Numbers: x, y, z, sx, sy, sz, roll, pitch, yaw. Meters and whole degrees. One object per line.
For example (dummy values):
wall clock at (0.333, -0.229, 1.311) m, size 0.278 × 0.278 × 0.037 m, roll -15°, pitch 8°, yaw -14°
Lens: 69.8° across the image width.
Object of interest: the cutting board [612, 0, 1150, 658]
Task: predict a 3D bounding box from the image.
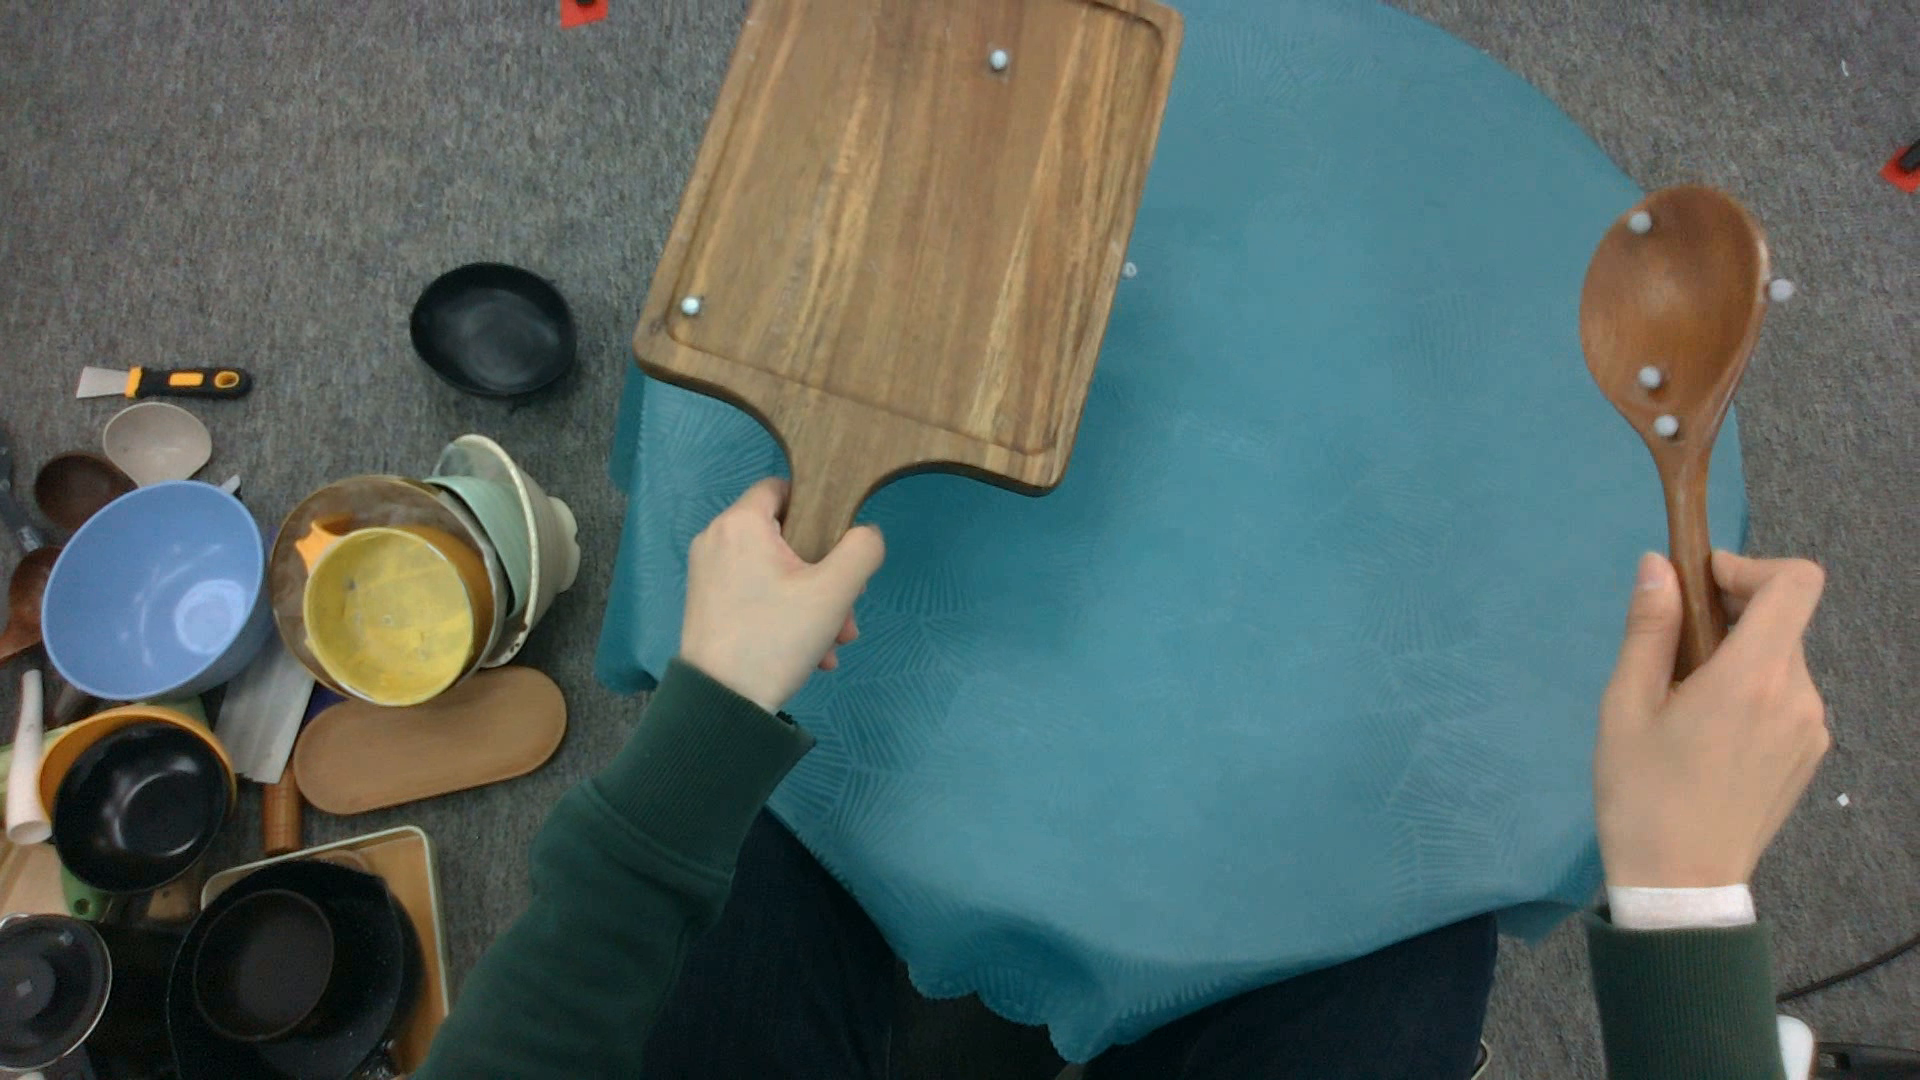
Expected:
cutting board at (-0.040, -0.118, 0.620) m, size 0.201 × 0.023 × 0.353 m, roll 16°, pitch 75°, yaw -7°

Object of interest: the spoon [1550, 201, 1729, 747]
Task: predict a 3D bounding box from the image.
spoon at (0.266, -0.029, 0.526) m, size 0.017 × 0.075 × 0.216 m, roll 12°, pitch 71°, yaw -27°
